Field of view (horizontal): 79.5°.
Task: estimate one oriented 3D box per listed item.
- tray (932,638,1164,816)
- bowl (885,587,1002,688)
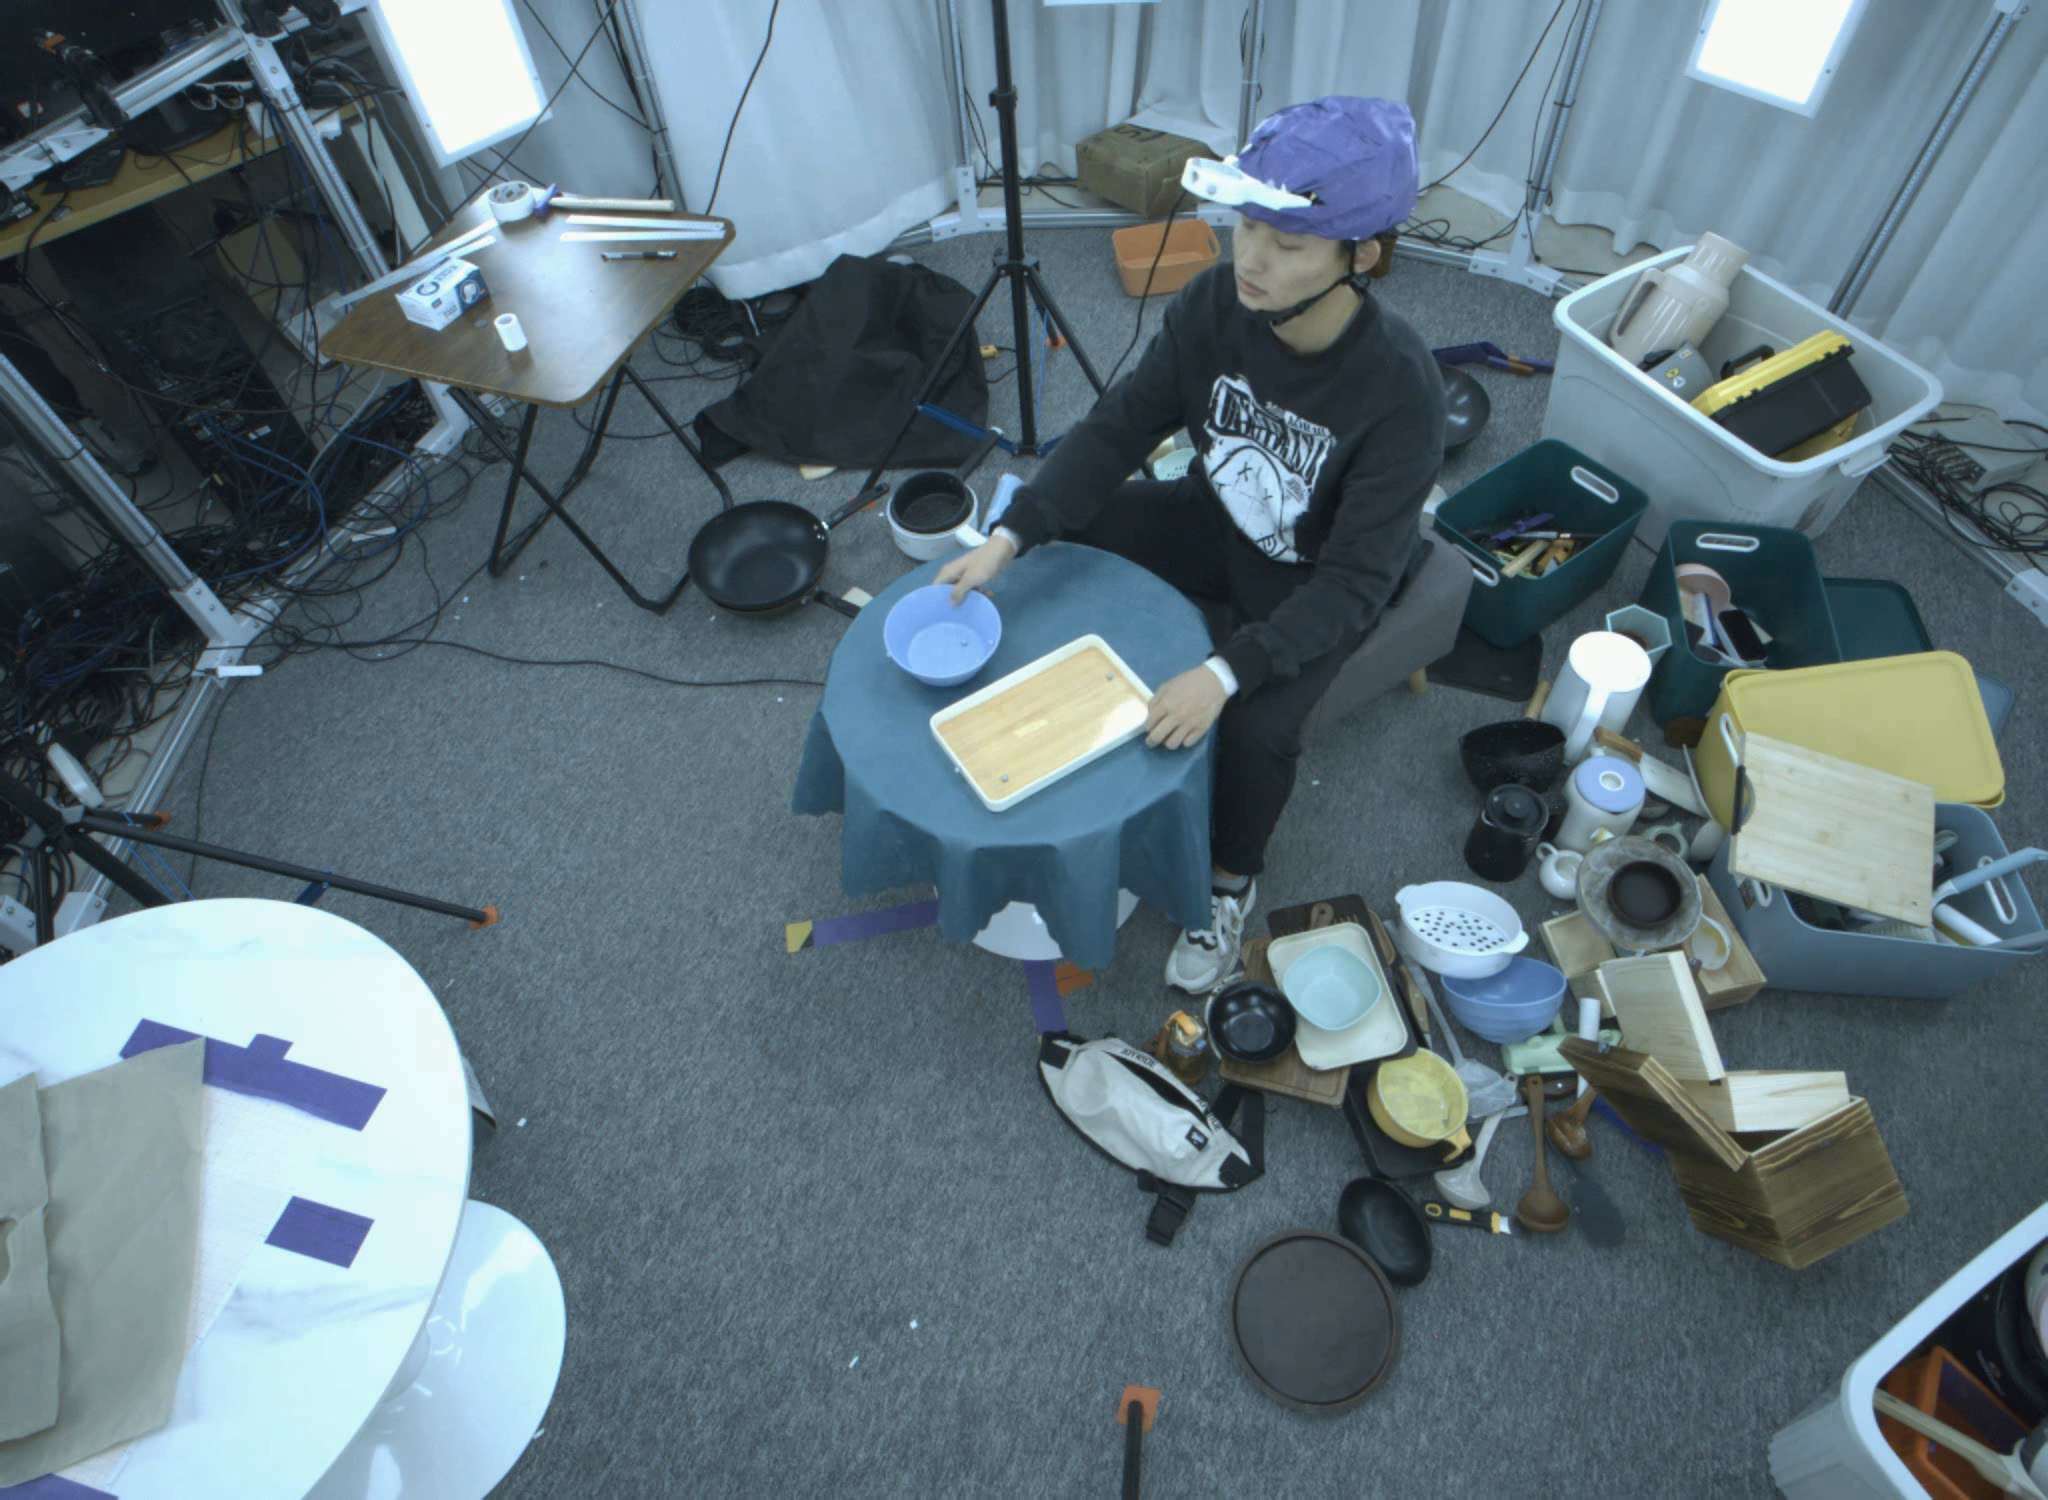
[{"bbox_3d":[0.036,-0.039,1.807,0.302,0.028,0.188,-29,58,-17],"label":"tray"},{"bbox_3d":[-0.121,-0.160,1.864,0.176,0.071,0.174,1,60,-1],"label":"bowl"}]
